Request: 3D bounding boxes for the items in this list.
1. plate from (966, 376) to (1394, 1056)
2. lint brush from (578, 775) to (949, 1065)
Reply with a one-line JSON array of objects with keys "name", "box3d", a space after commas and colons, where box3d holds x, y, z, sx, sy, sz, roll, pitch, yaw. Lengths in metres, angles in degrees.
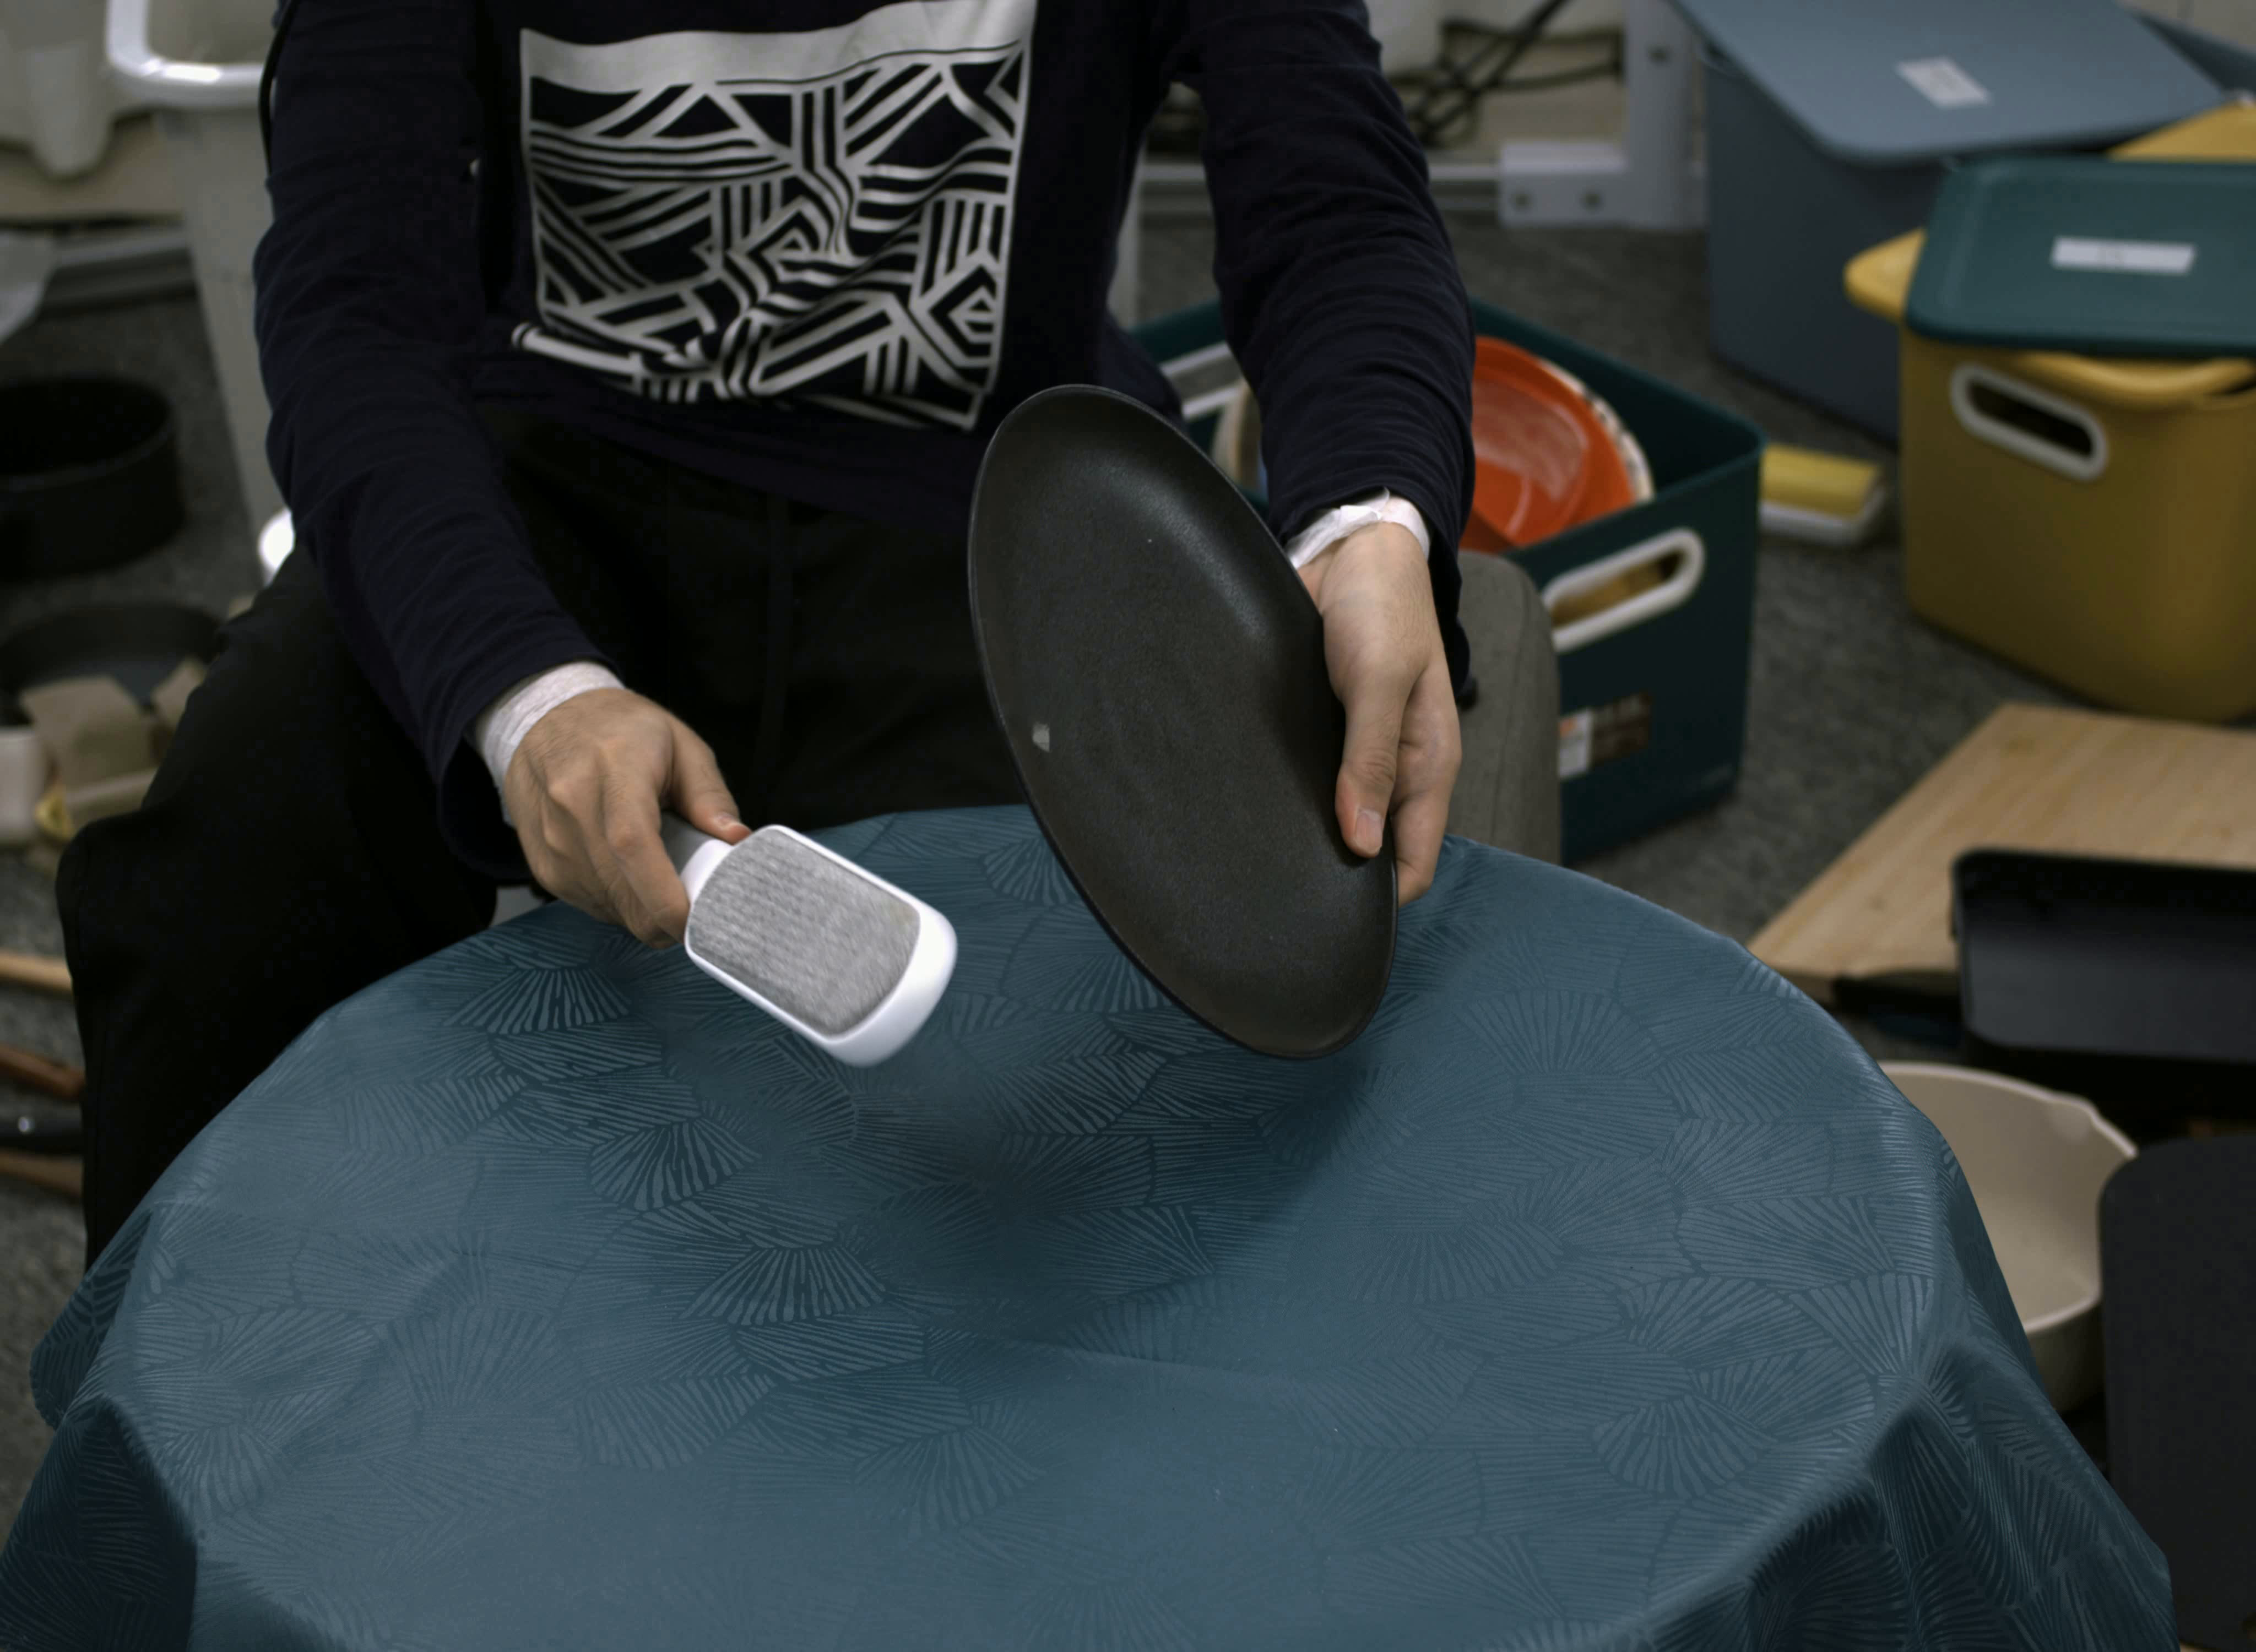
[{"name": "plate", "box3d": [0.013, -0.035, 1.888, 0.023, 0.243, 0.248, -24, 17, 28]}, {"name": "lint brush", "box3d": [-0.128, 0.022, 1.887, 0.021, 0.060, 0.309, 33, -3, -26]}]
